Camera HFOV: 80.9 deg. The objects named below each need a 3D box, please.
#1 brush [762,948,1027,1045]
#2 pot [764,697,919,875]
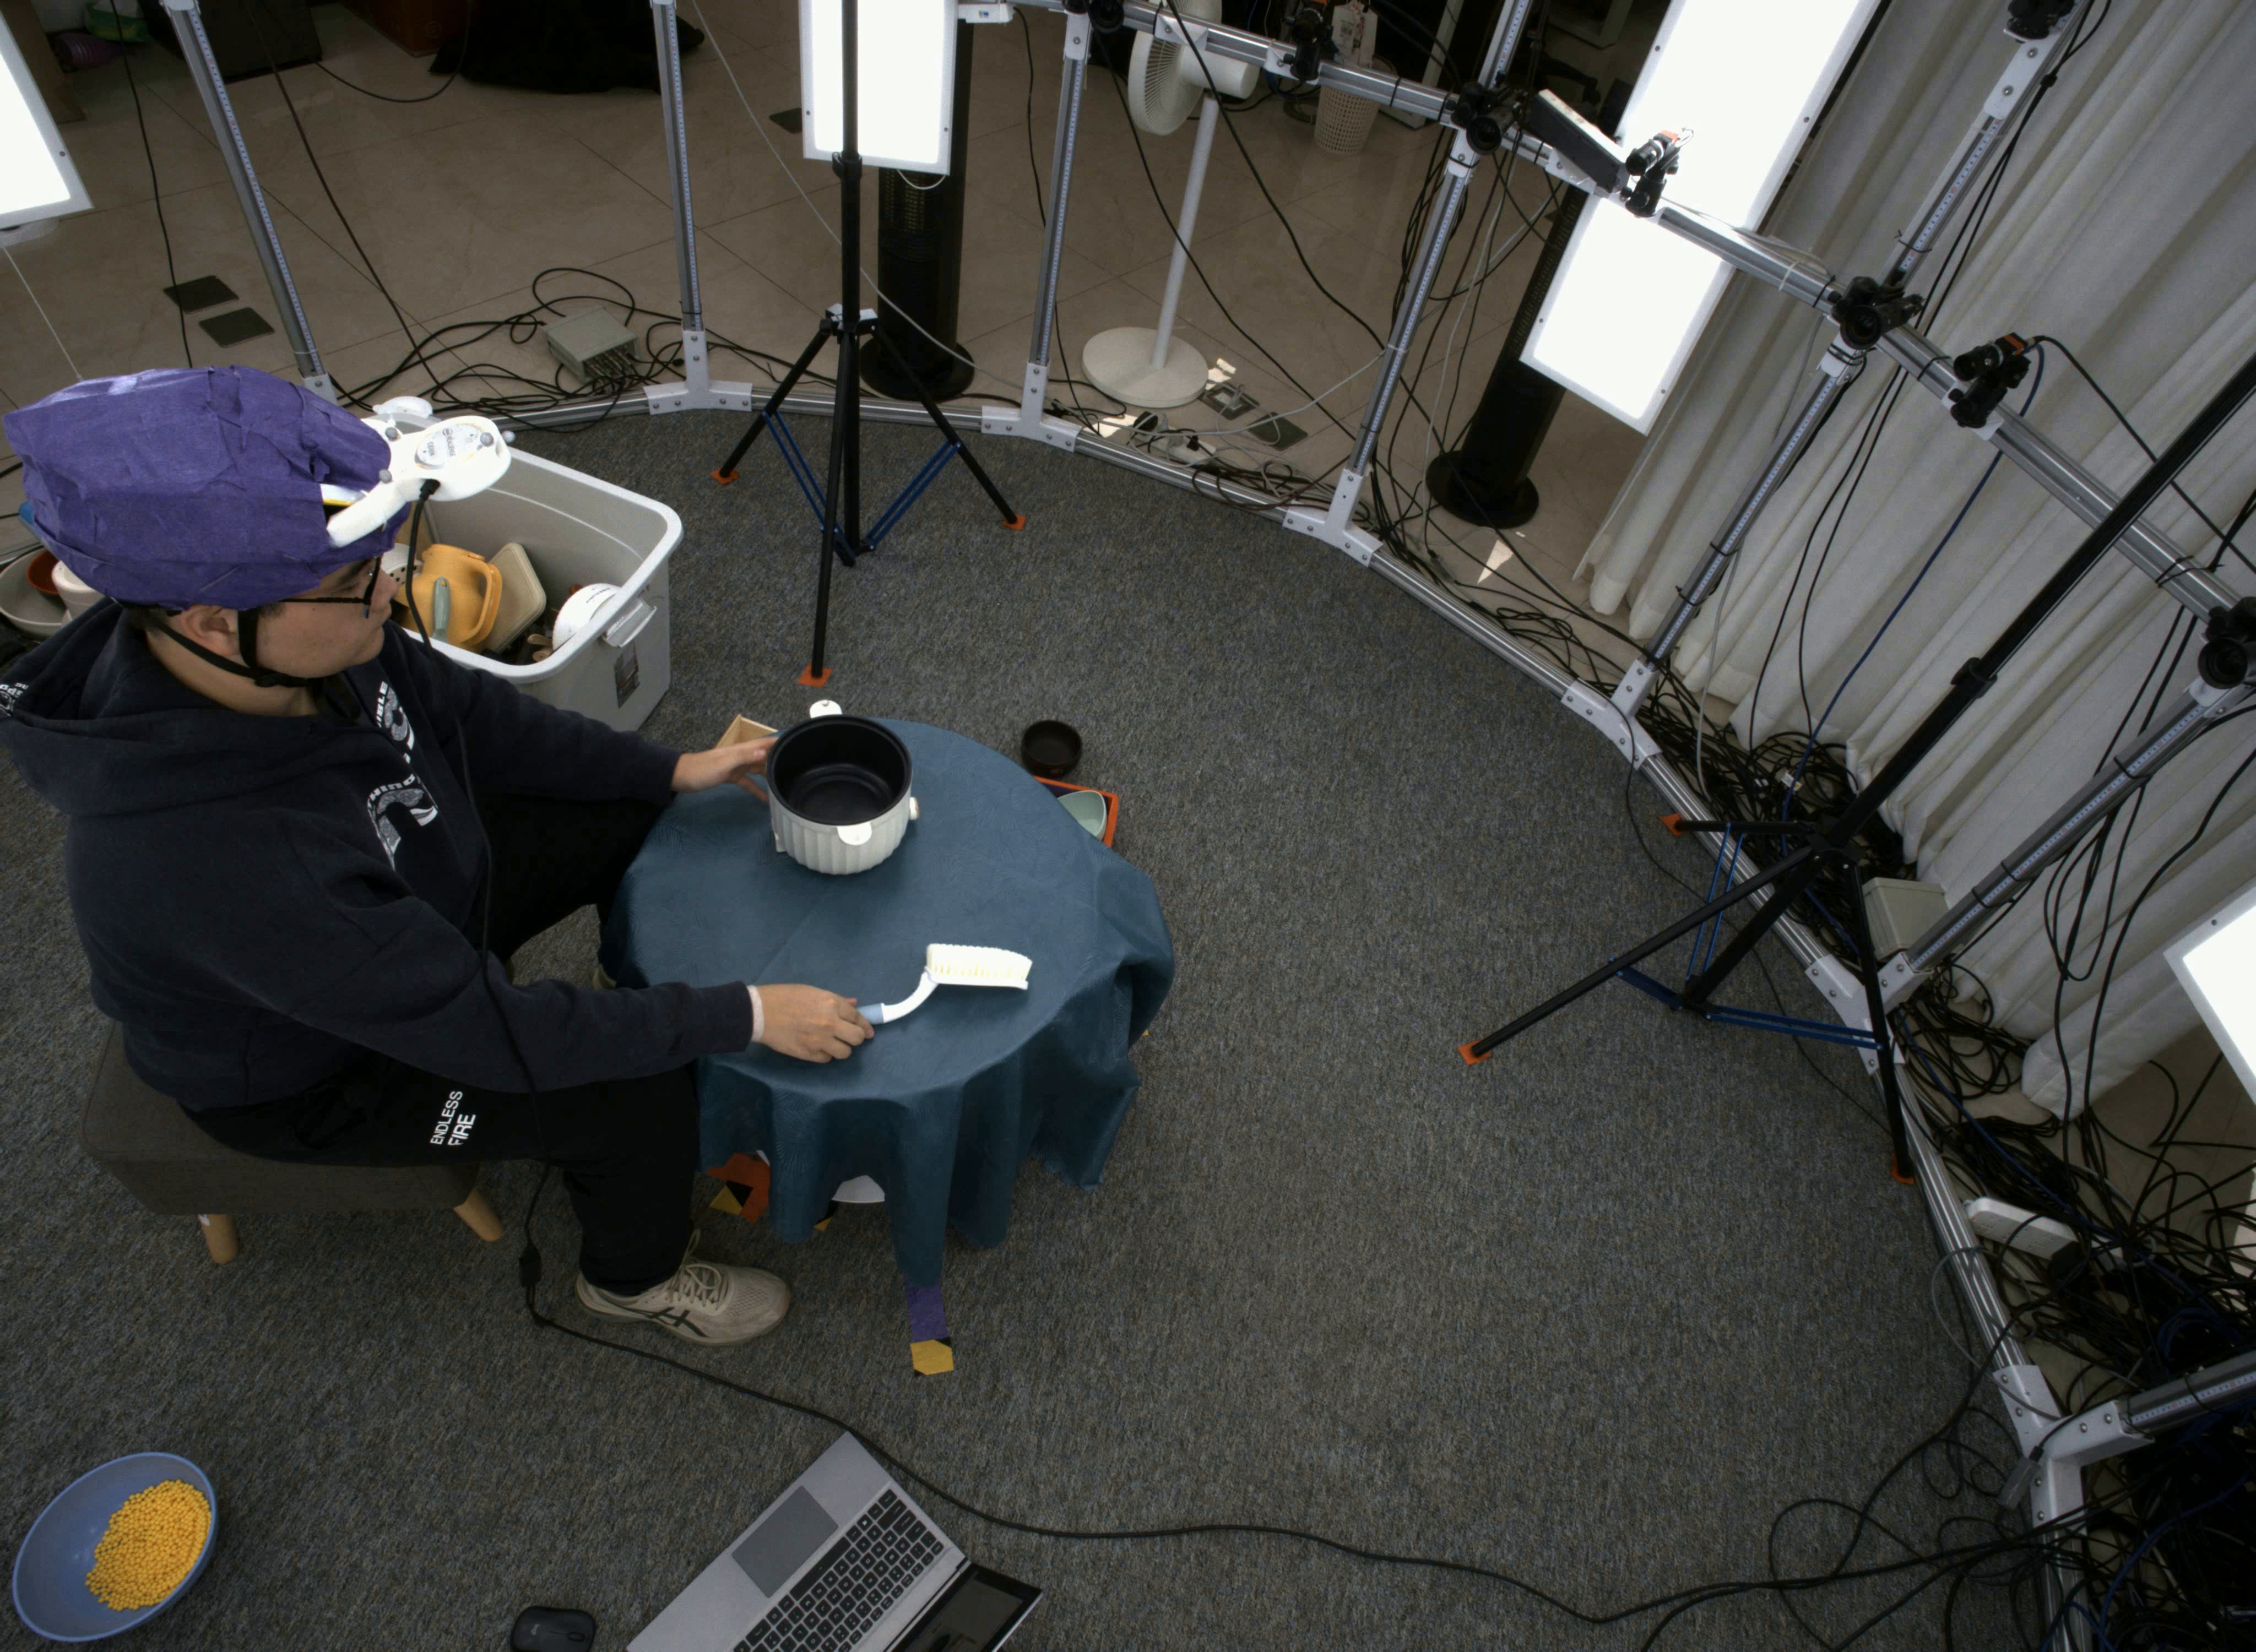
[{"bbox_3d":[-0.278,0.185,1.564,0.327,0.084,0.083,-7,60,-21],"label":"brush"},{"bbox_3d":[-0.366,-0.037,1.673,0.191,0.146,0.235,-12,58,-17],"label":"pot"}]
